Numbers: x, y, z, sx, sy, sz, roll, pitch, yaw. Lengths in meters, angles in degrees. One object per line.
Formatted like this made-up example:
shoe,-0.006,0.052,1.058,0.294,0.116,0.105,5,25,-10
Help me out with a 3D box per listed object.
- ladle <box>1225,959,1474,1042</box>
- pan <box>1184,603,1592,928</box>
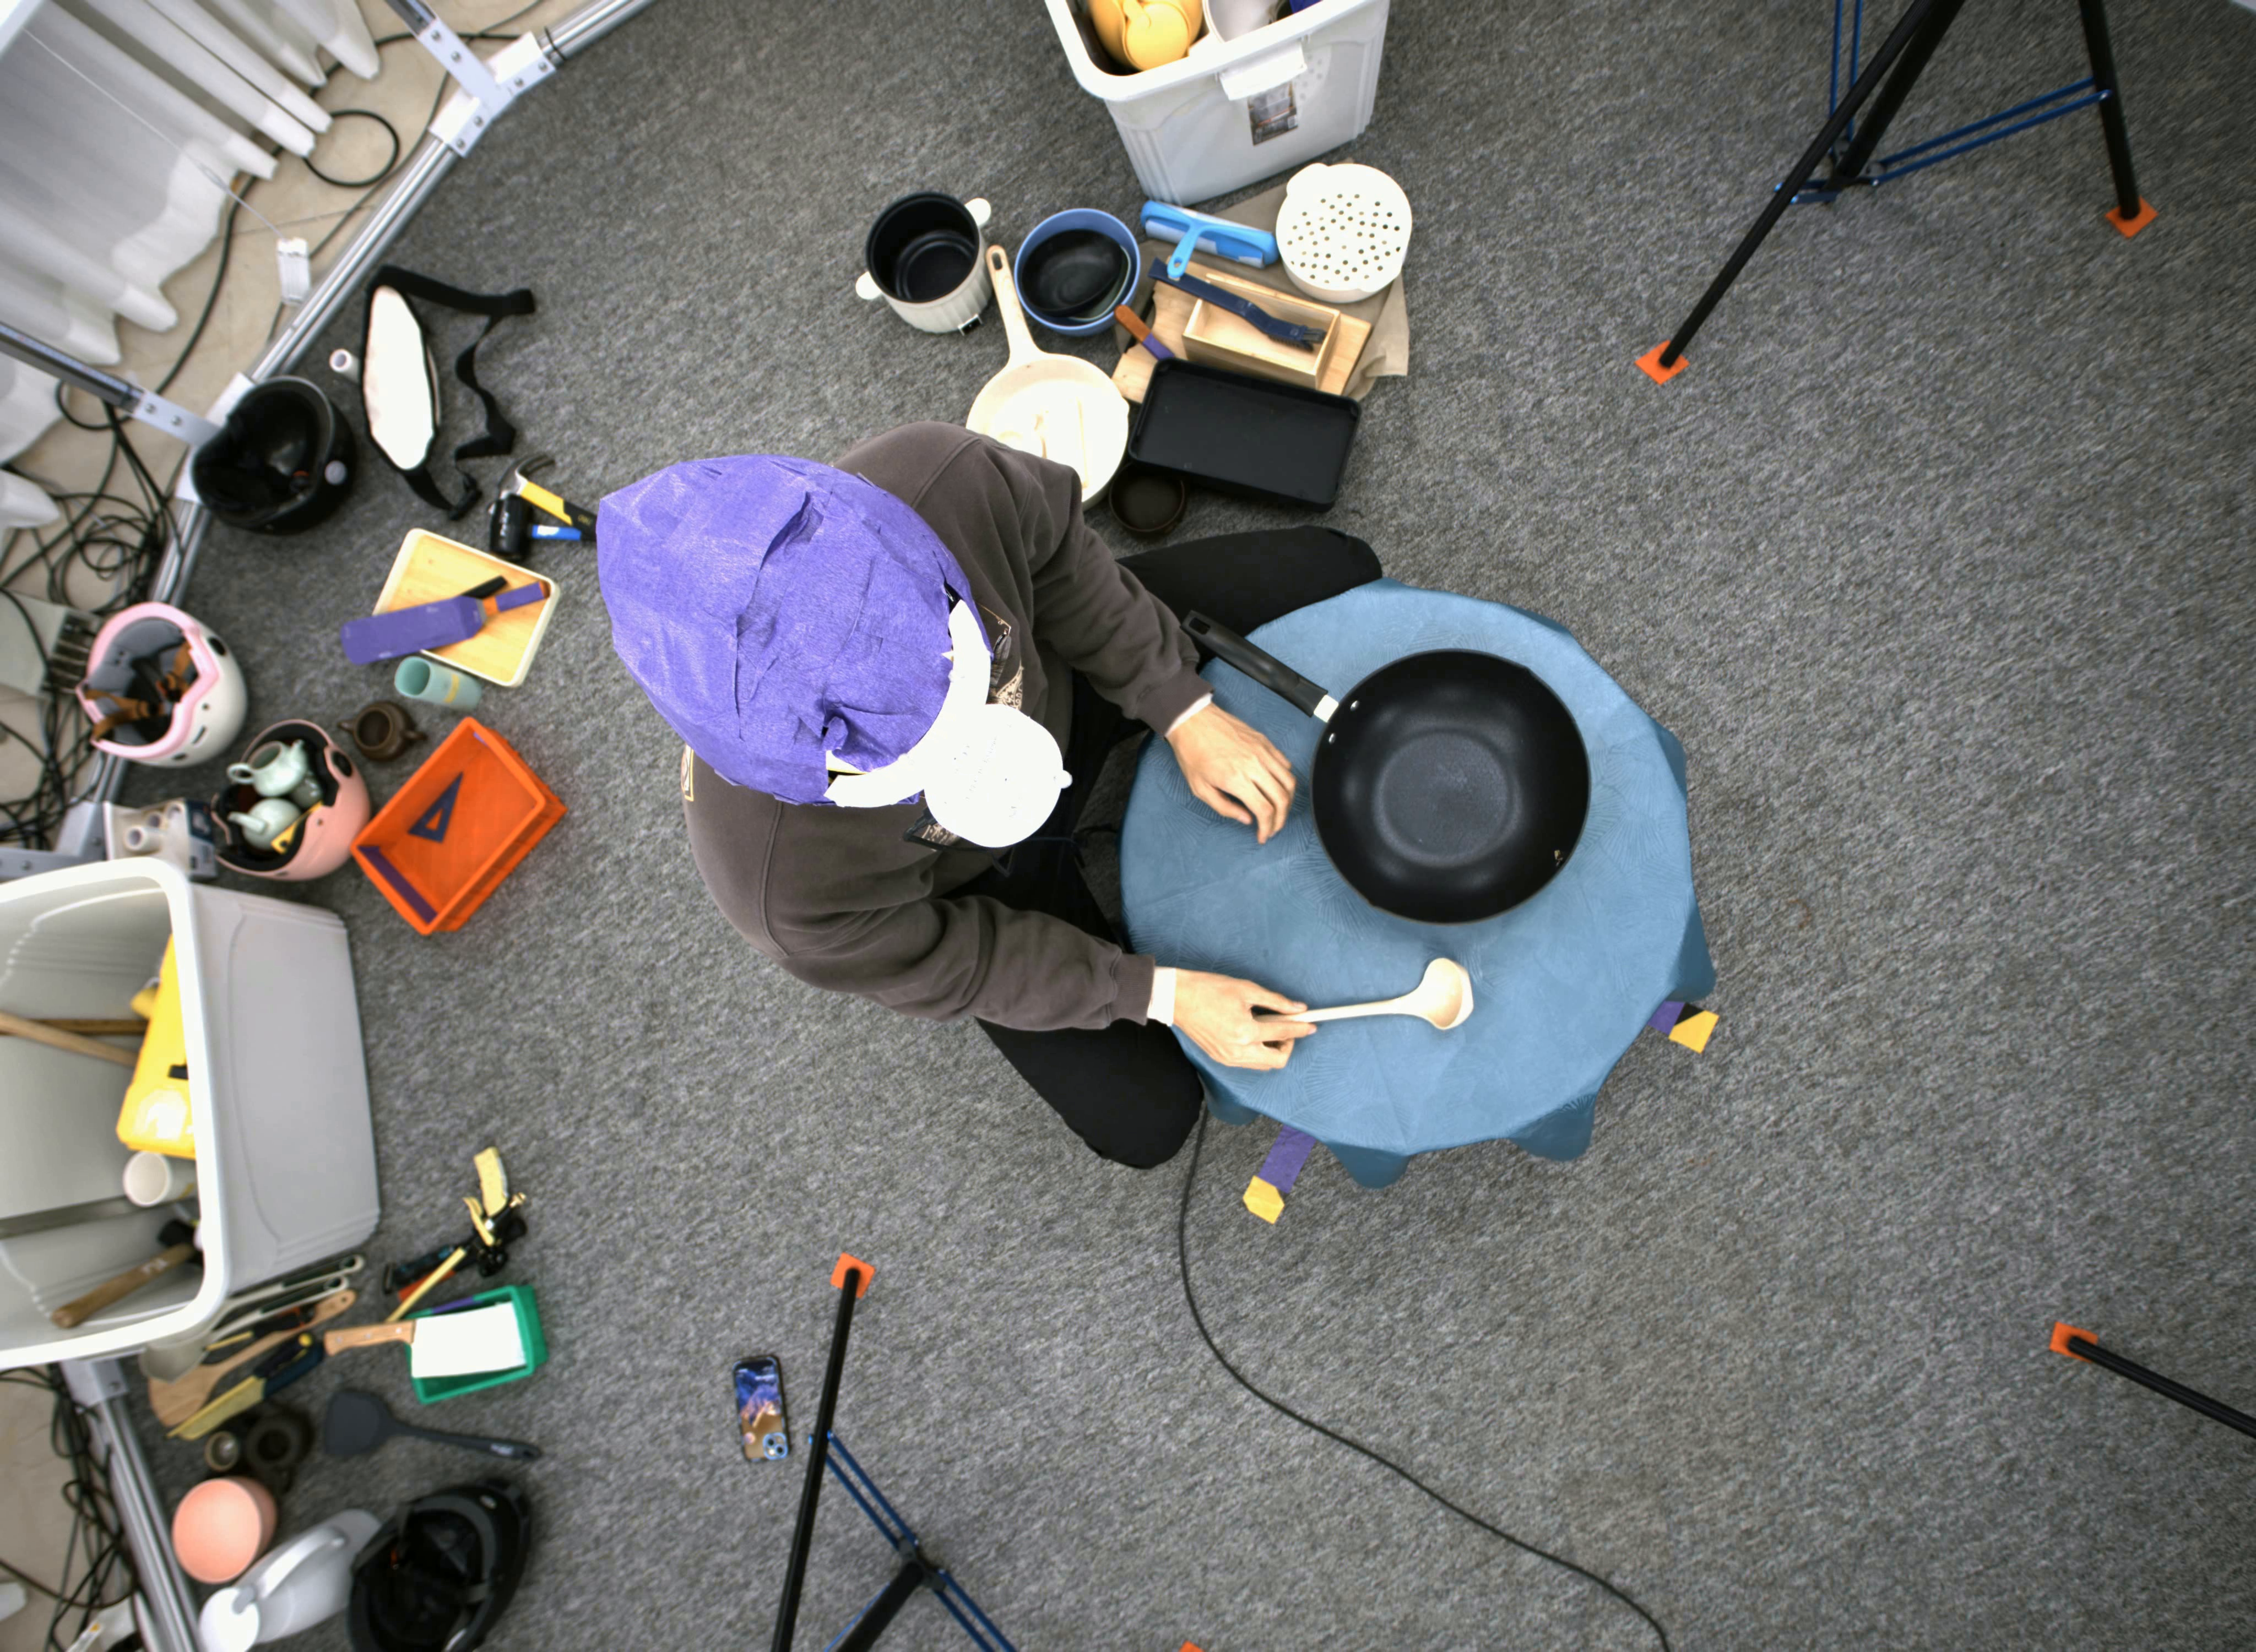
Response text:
ladle,0.225,0.186,1.414,0.255,0.073,0.071,-10,75,3
pan,0.252,-0.087,1.427,0.462,0.087,0.289,34,94,11
